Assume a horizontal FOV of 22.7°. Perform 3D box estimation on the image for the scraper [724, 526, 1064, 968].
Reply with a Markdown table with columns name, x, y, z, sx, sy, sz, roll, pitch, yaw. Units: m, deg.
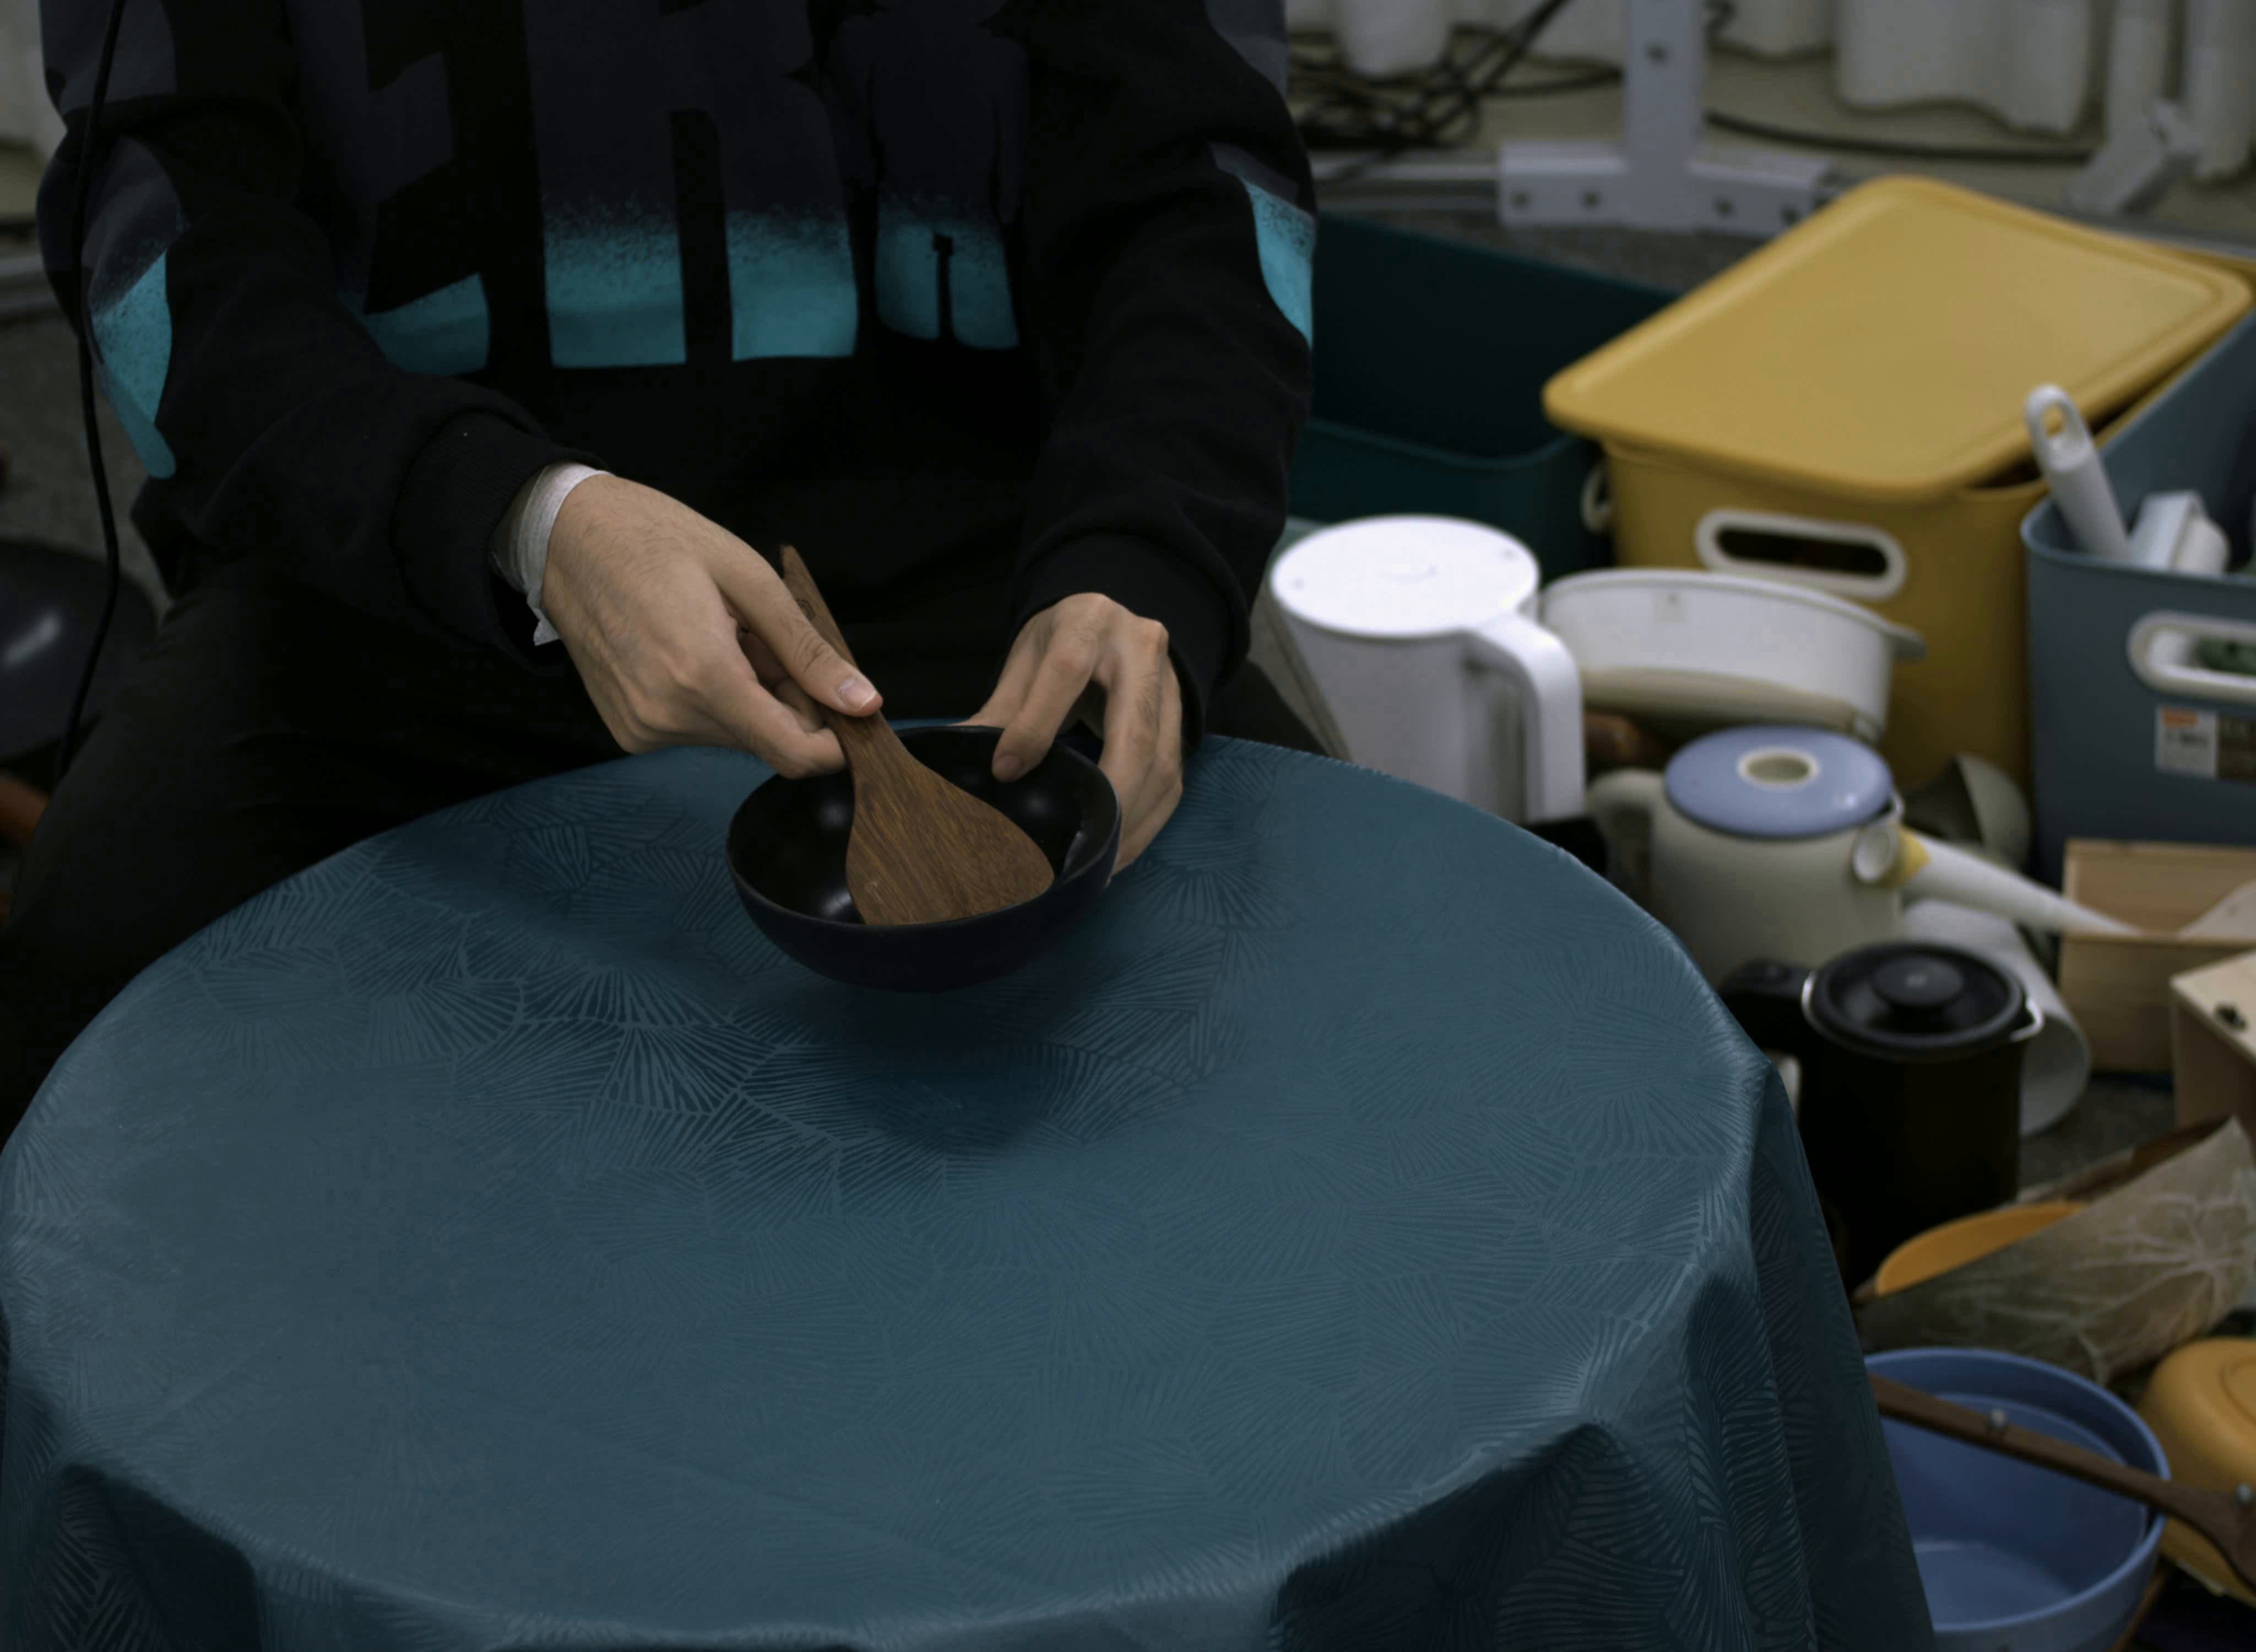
| name | x | y | z | sx | sy | sz | roll | pitch | yaw |
| --- | --- | --- | --- | --- | --- | --- | --- | --- | --- |
| scraper | -0.090 | -0.030 | 1.970 | 0.076 | 0.010 | 0.214 | -16 | 52 | -21 |

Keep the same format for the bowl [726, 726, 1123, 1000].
| name | x | y | z | sx | sy | sz | roll | pitch | yaw |
| --- | --- | --- | --- | --- | --- | --- | --- | --- | --- |
| bowl | -0.067 | 0.021 | 1.951 | 0.139 | 0.049 | 0.142 | -6 | 29 | 4 |
